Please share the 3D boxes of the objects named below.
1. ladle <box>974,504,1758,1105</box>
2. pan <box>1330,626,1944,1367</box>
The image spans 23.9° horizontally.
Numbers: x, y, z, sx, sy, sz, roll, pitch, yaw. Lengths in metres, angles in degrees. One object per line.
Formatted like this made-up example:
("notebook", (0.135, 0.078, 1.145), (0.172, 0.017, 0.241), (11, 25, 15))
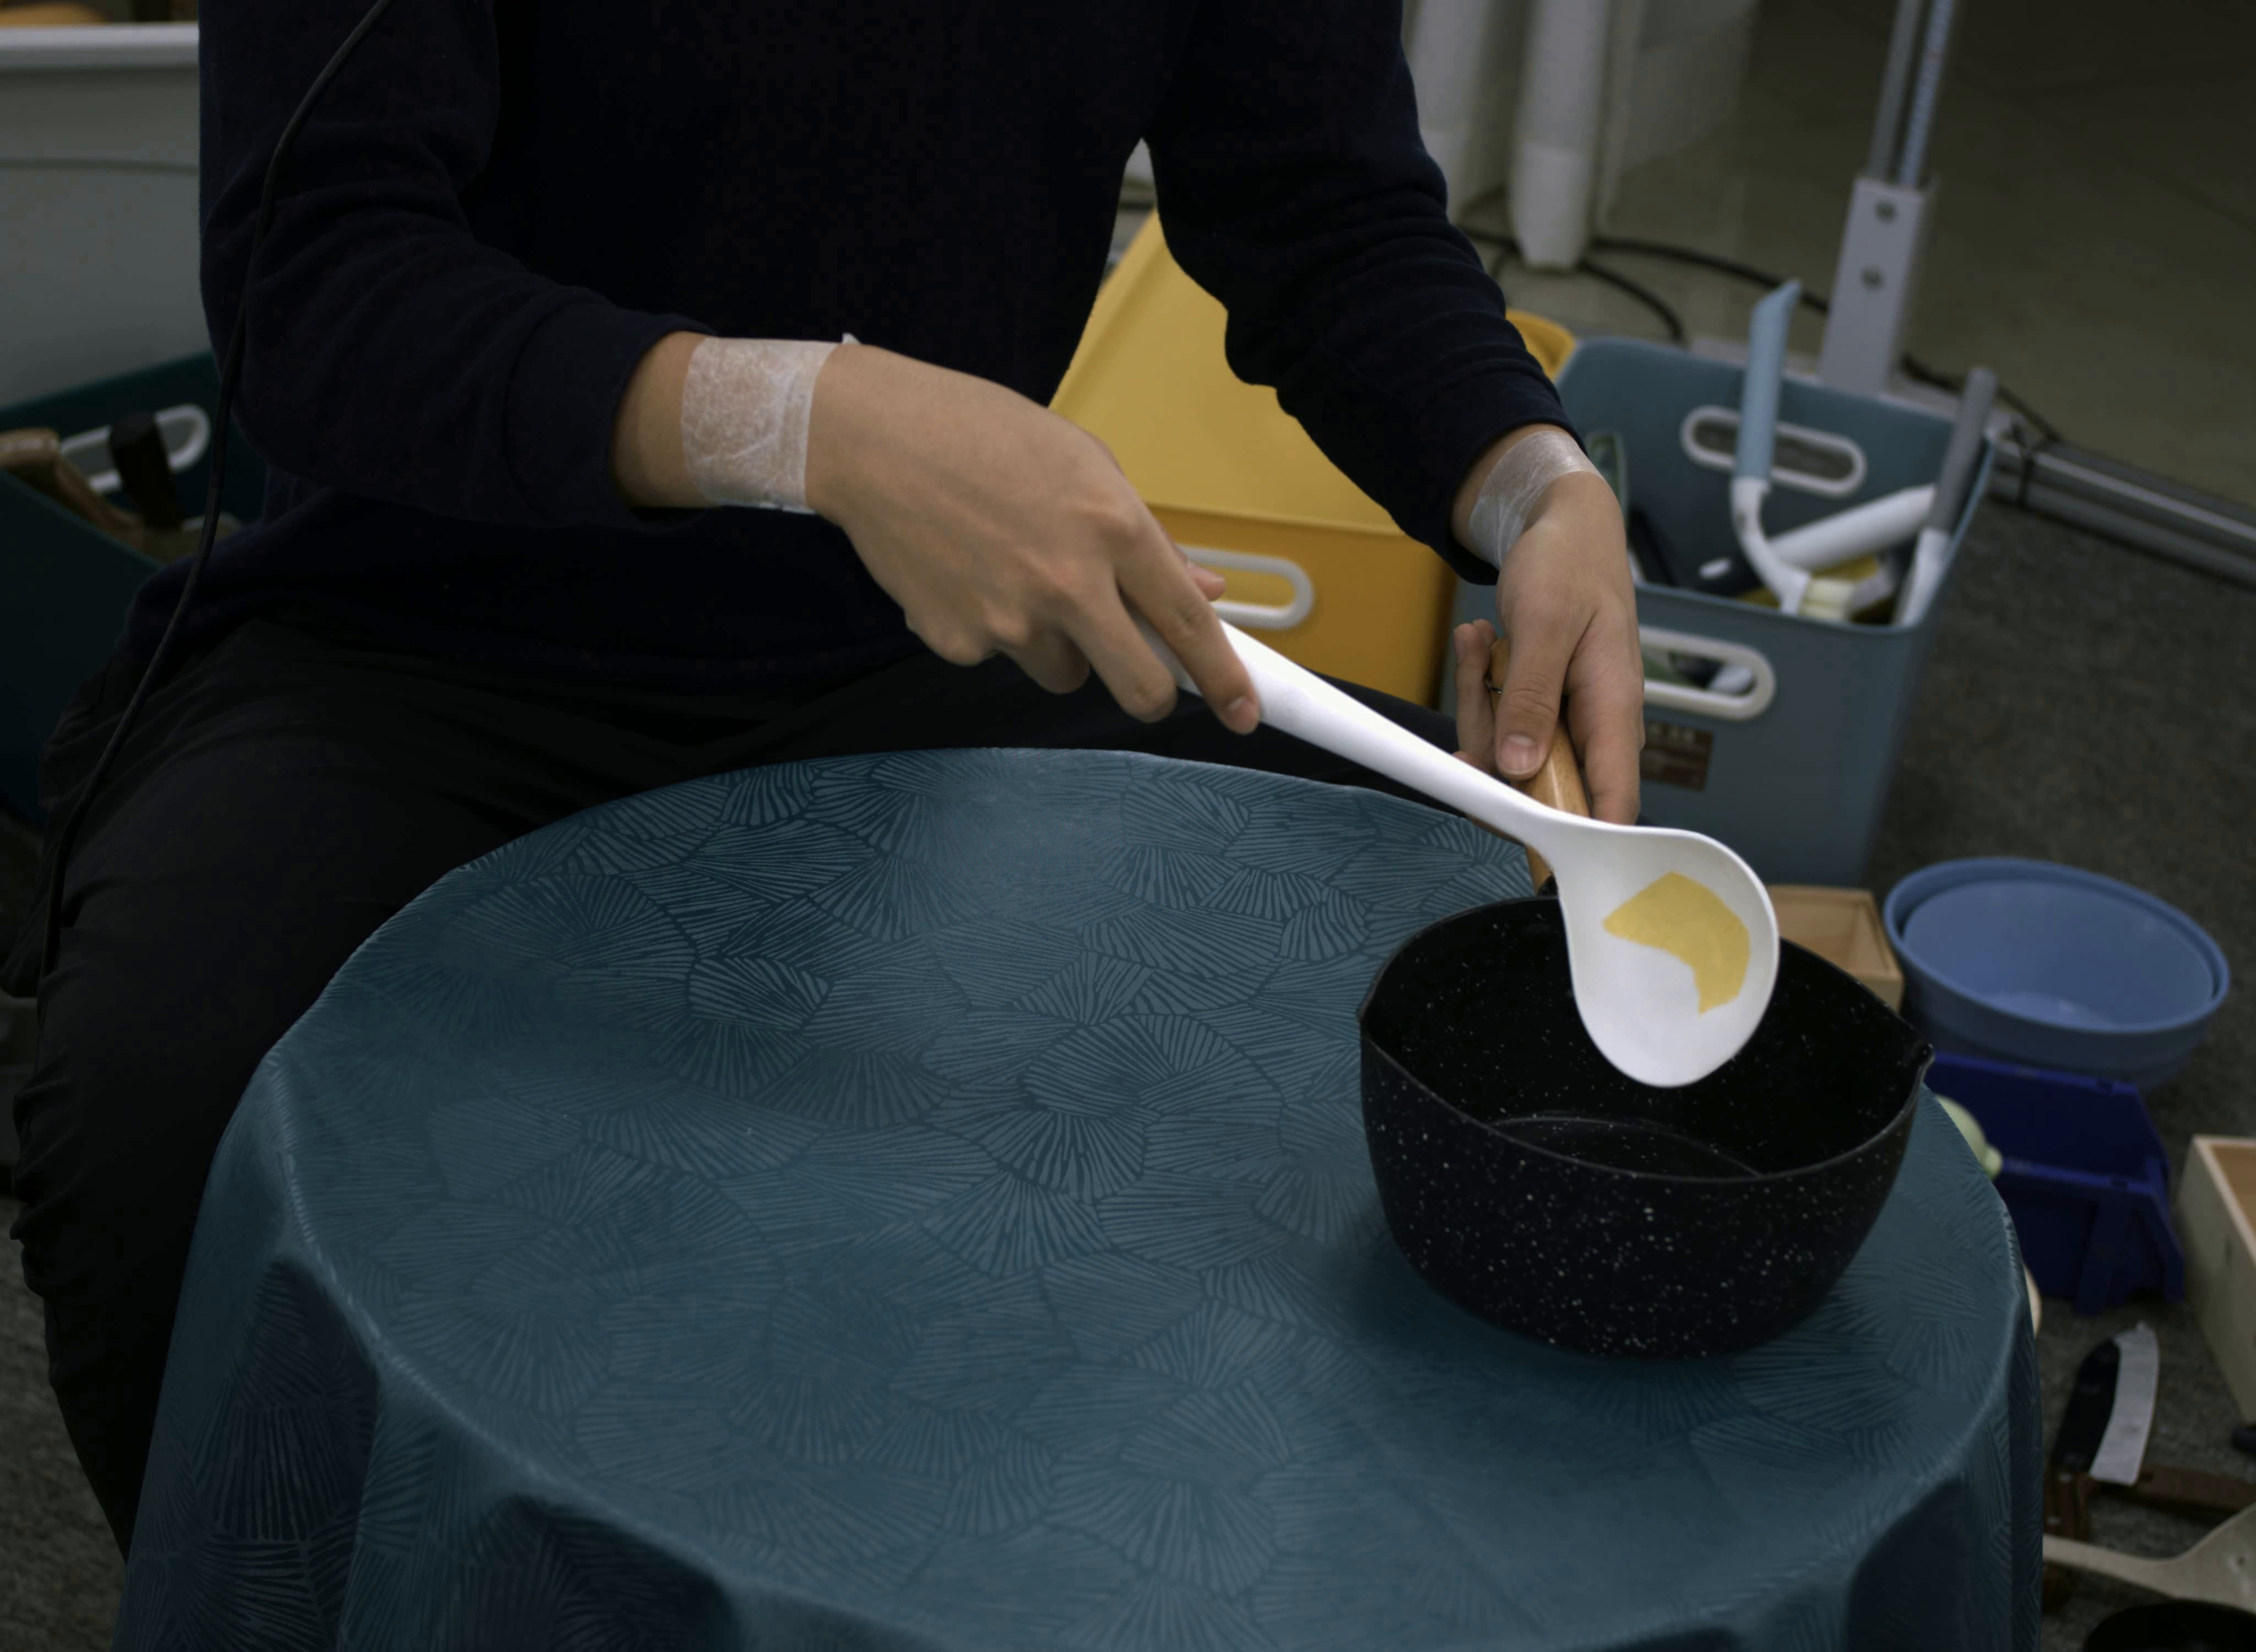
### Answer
("ladle", (0.077, -0.011, 1.751), (0.292, 0.090, 0.070), (30, 39, -4))
("pan", (0.157, 0.056, 1.847), (0.206, 0.108, 0.345), (1, 30, -9))
